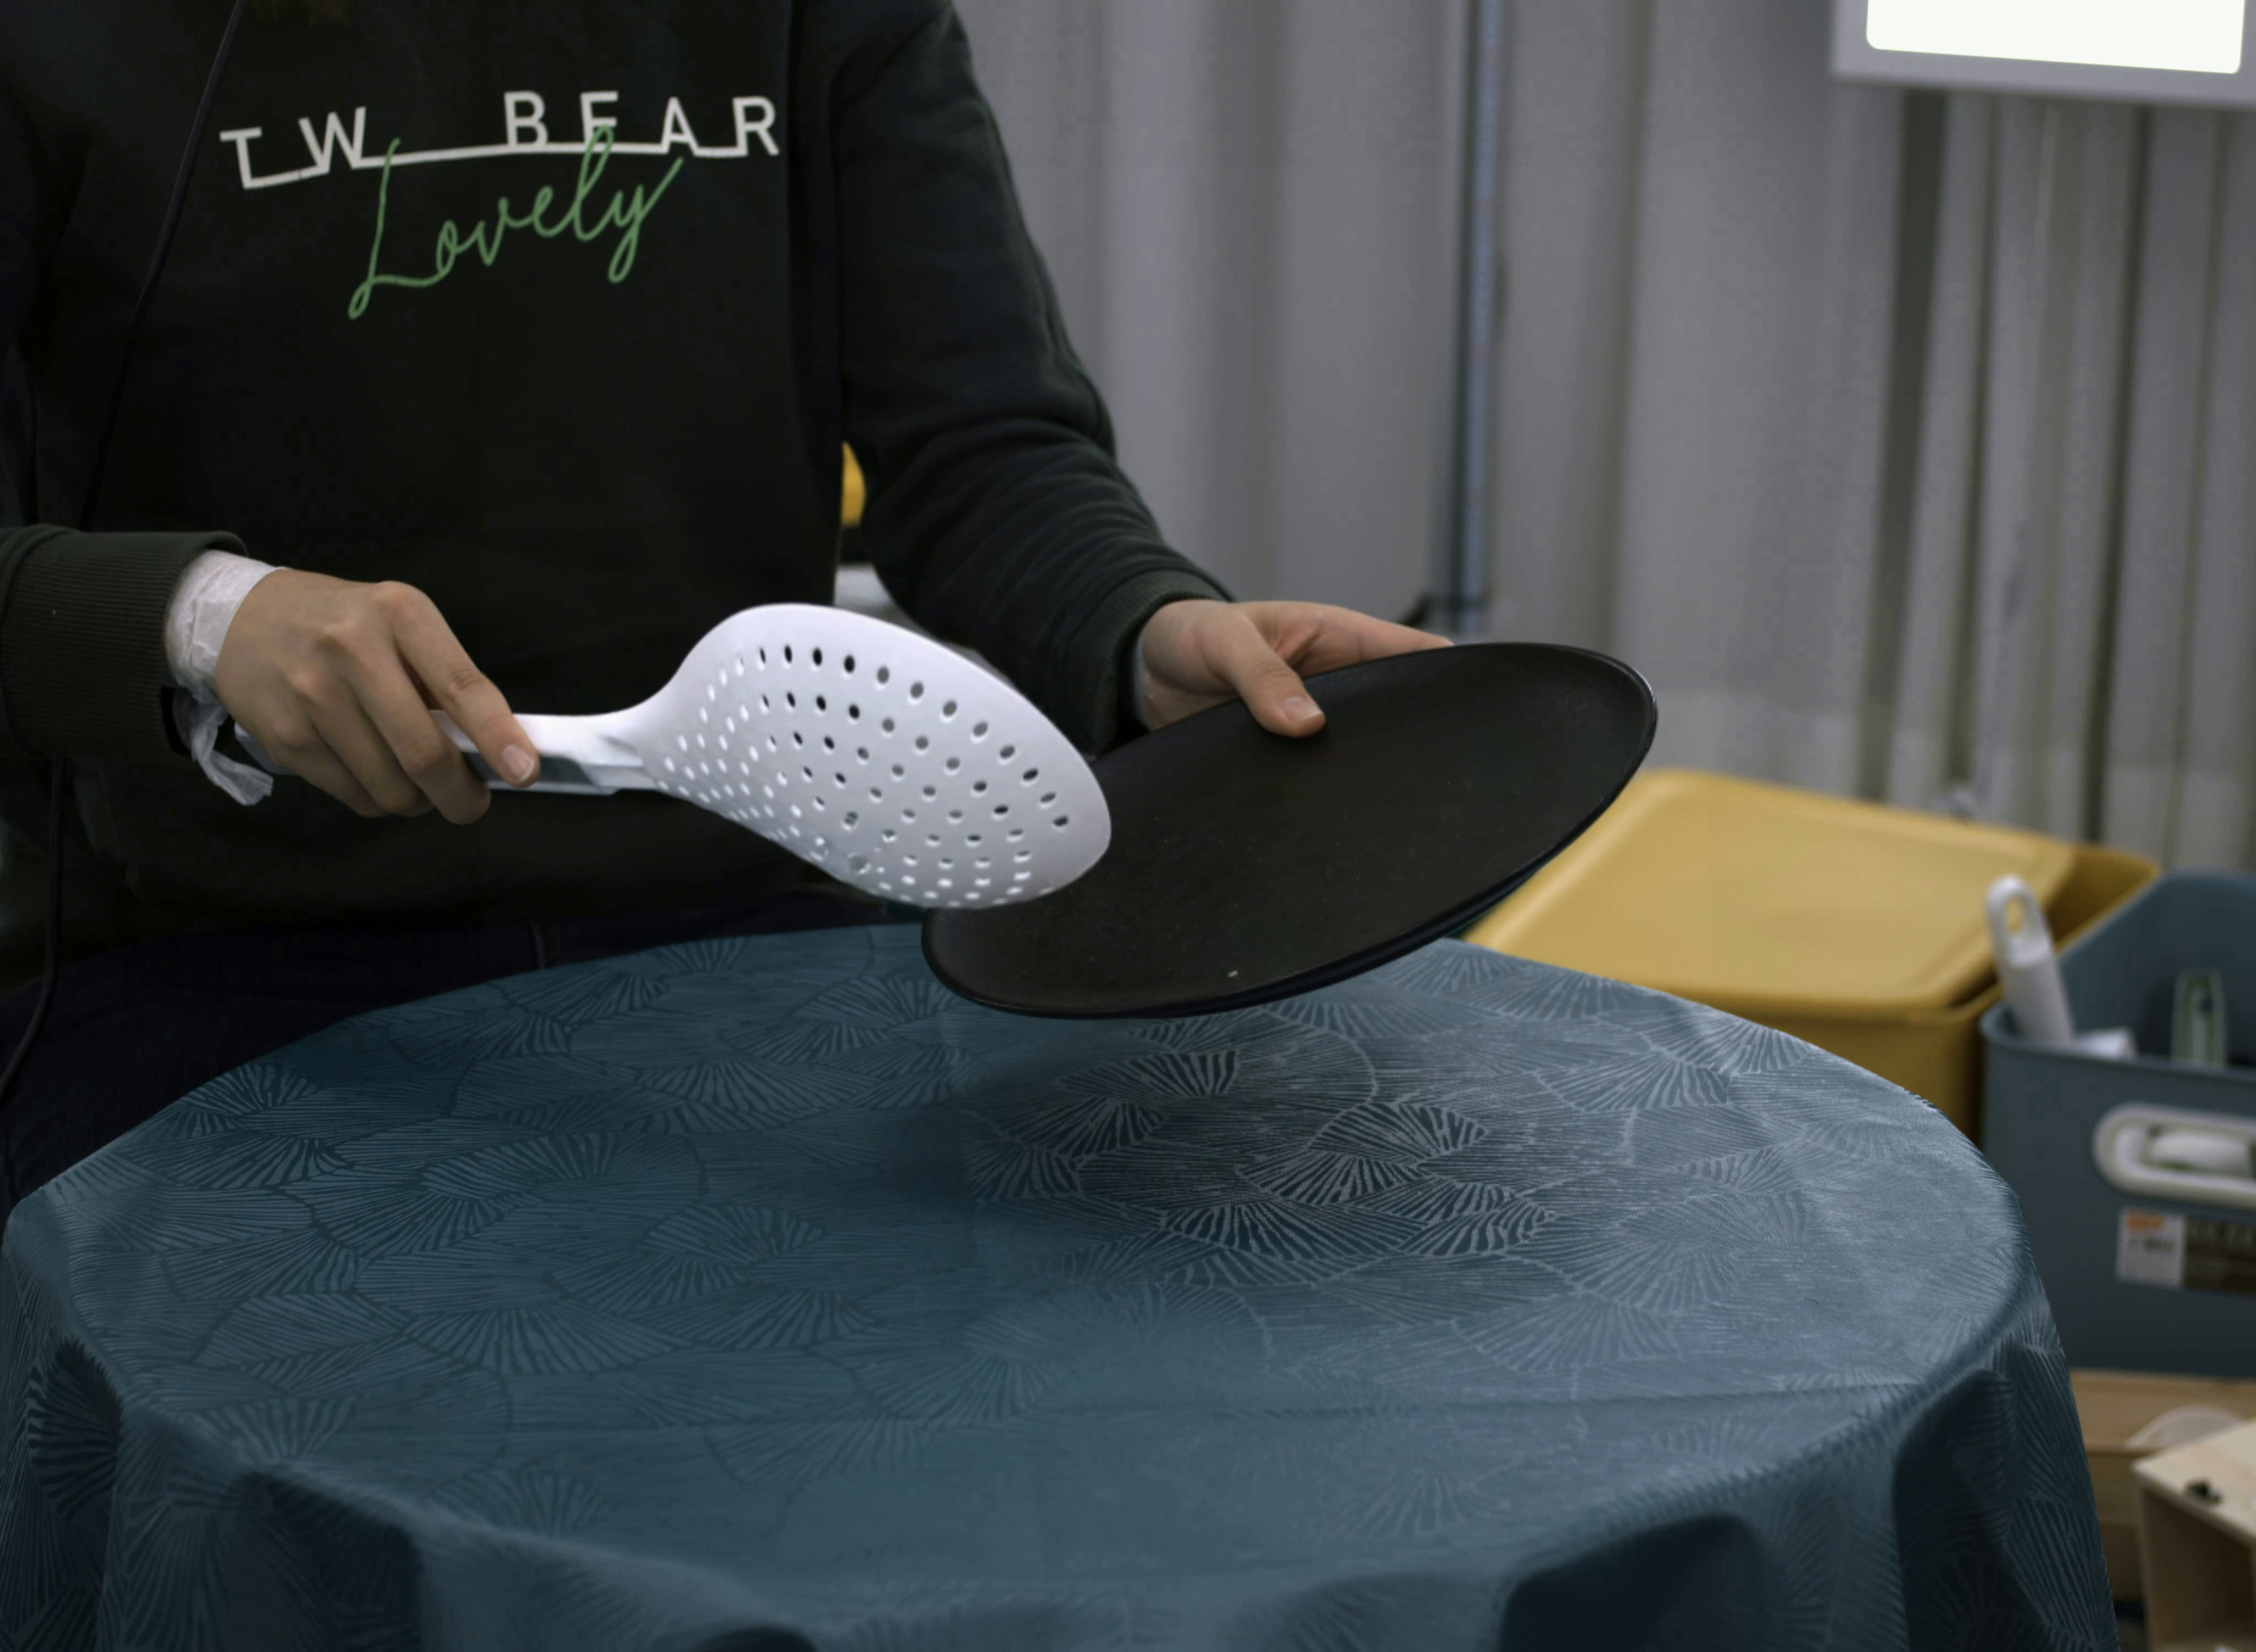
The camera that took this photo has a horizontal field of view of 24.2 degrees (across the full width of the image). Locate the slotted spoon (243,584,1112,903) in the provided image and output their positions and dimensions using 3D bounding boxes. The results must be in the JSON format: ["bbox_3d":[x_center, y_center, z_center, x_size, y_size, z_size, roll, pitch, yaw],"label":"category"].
[{"bbox_3d":[-0.153,-0.024,1.648,0.345,0.138,0.045,7,55,41],"label":"slotted spoon"}]

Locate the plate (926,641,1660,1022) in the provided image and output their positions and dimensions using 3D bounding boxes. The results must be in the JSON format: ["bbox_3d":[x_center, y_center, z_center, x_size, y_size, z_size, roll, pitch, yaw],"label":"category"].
[{"bbox_3d":[0.053,0.007,1.656,0.243,0.024,0.242,-17,21,8],"label":"plate"}]
